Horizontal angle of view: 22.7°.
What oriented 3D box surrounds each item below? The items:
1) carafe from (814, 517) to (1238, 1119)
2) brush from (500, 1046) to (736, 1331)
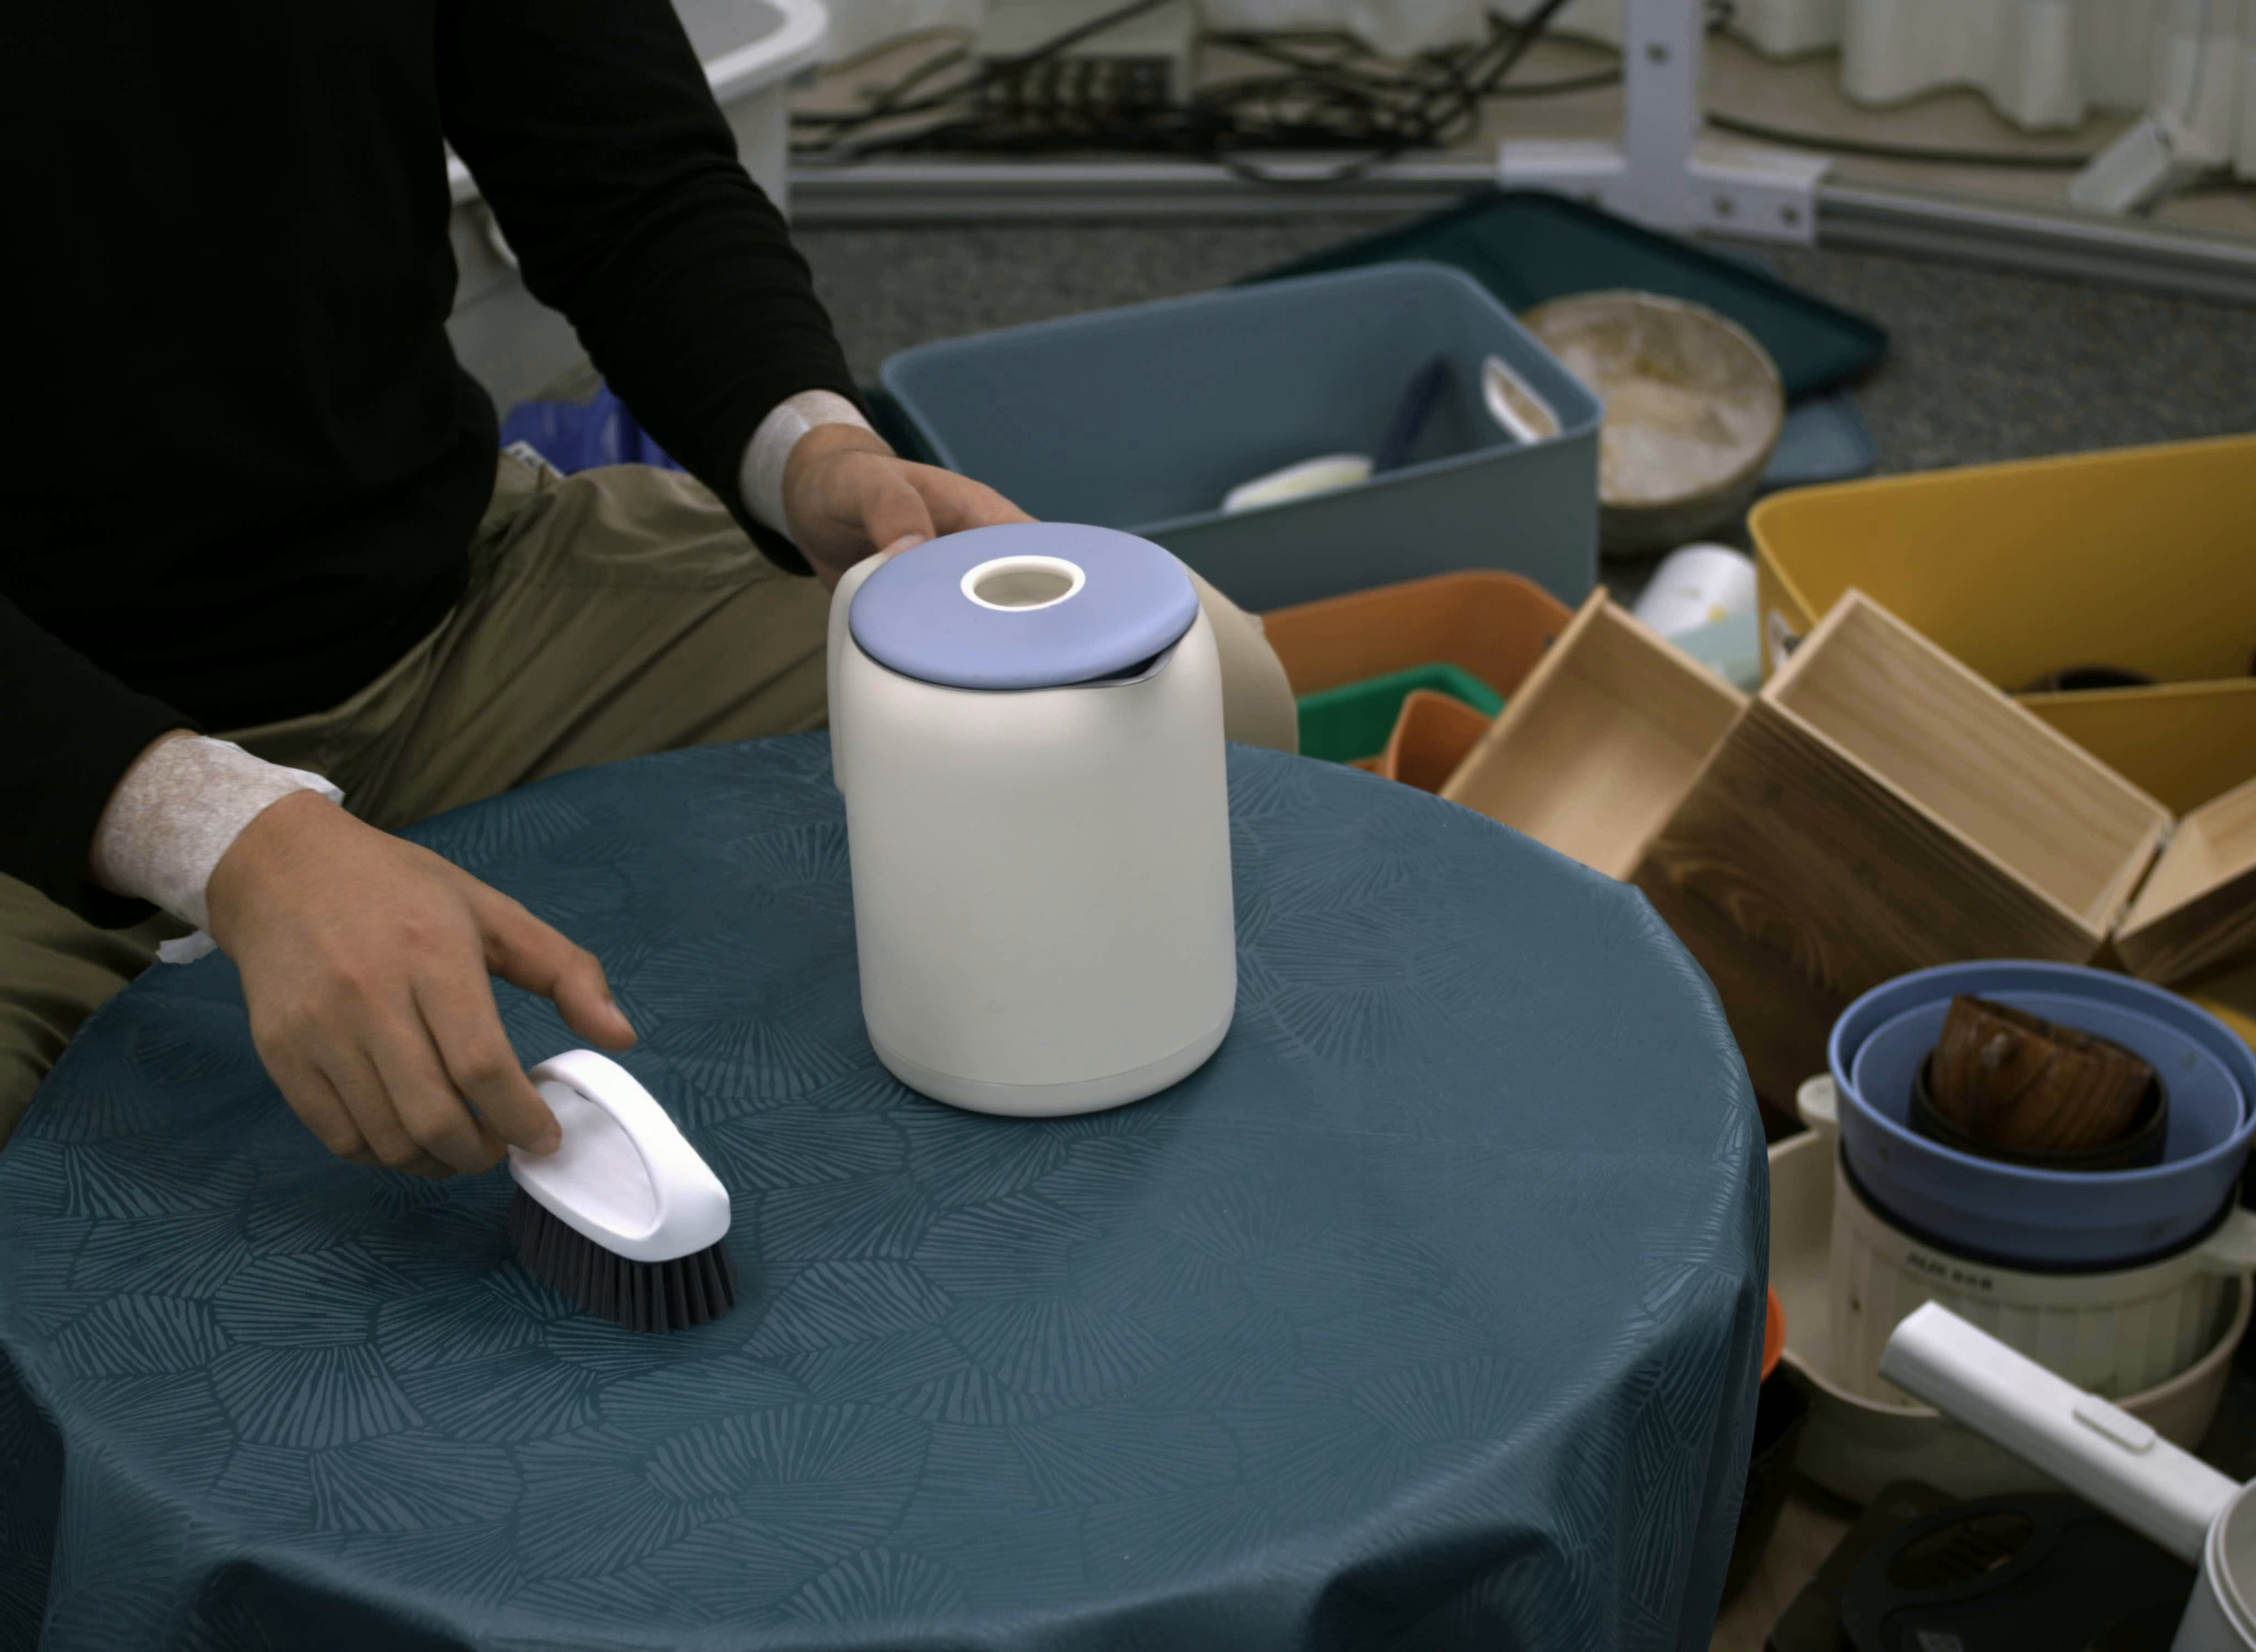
[{"bbox_3d":[-0.046,-0.011,1.939,0.133,0.181,0.191,-22,31,-33],"label":"carafe"},{"bbox_3d":[-0.168,0.111,1.819,0.051,0.072,0.099,-21,32,-31],"label":"brush"}]
